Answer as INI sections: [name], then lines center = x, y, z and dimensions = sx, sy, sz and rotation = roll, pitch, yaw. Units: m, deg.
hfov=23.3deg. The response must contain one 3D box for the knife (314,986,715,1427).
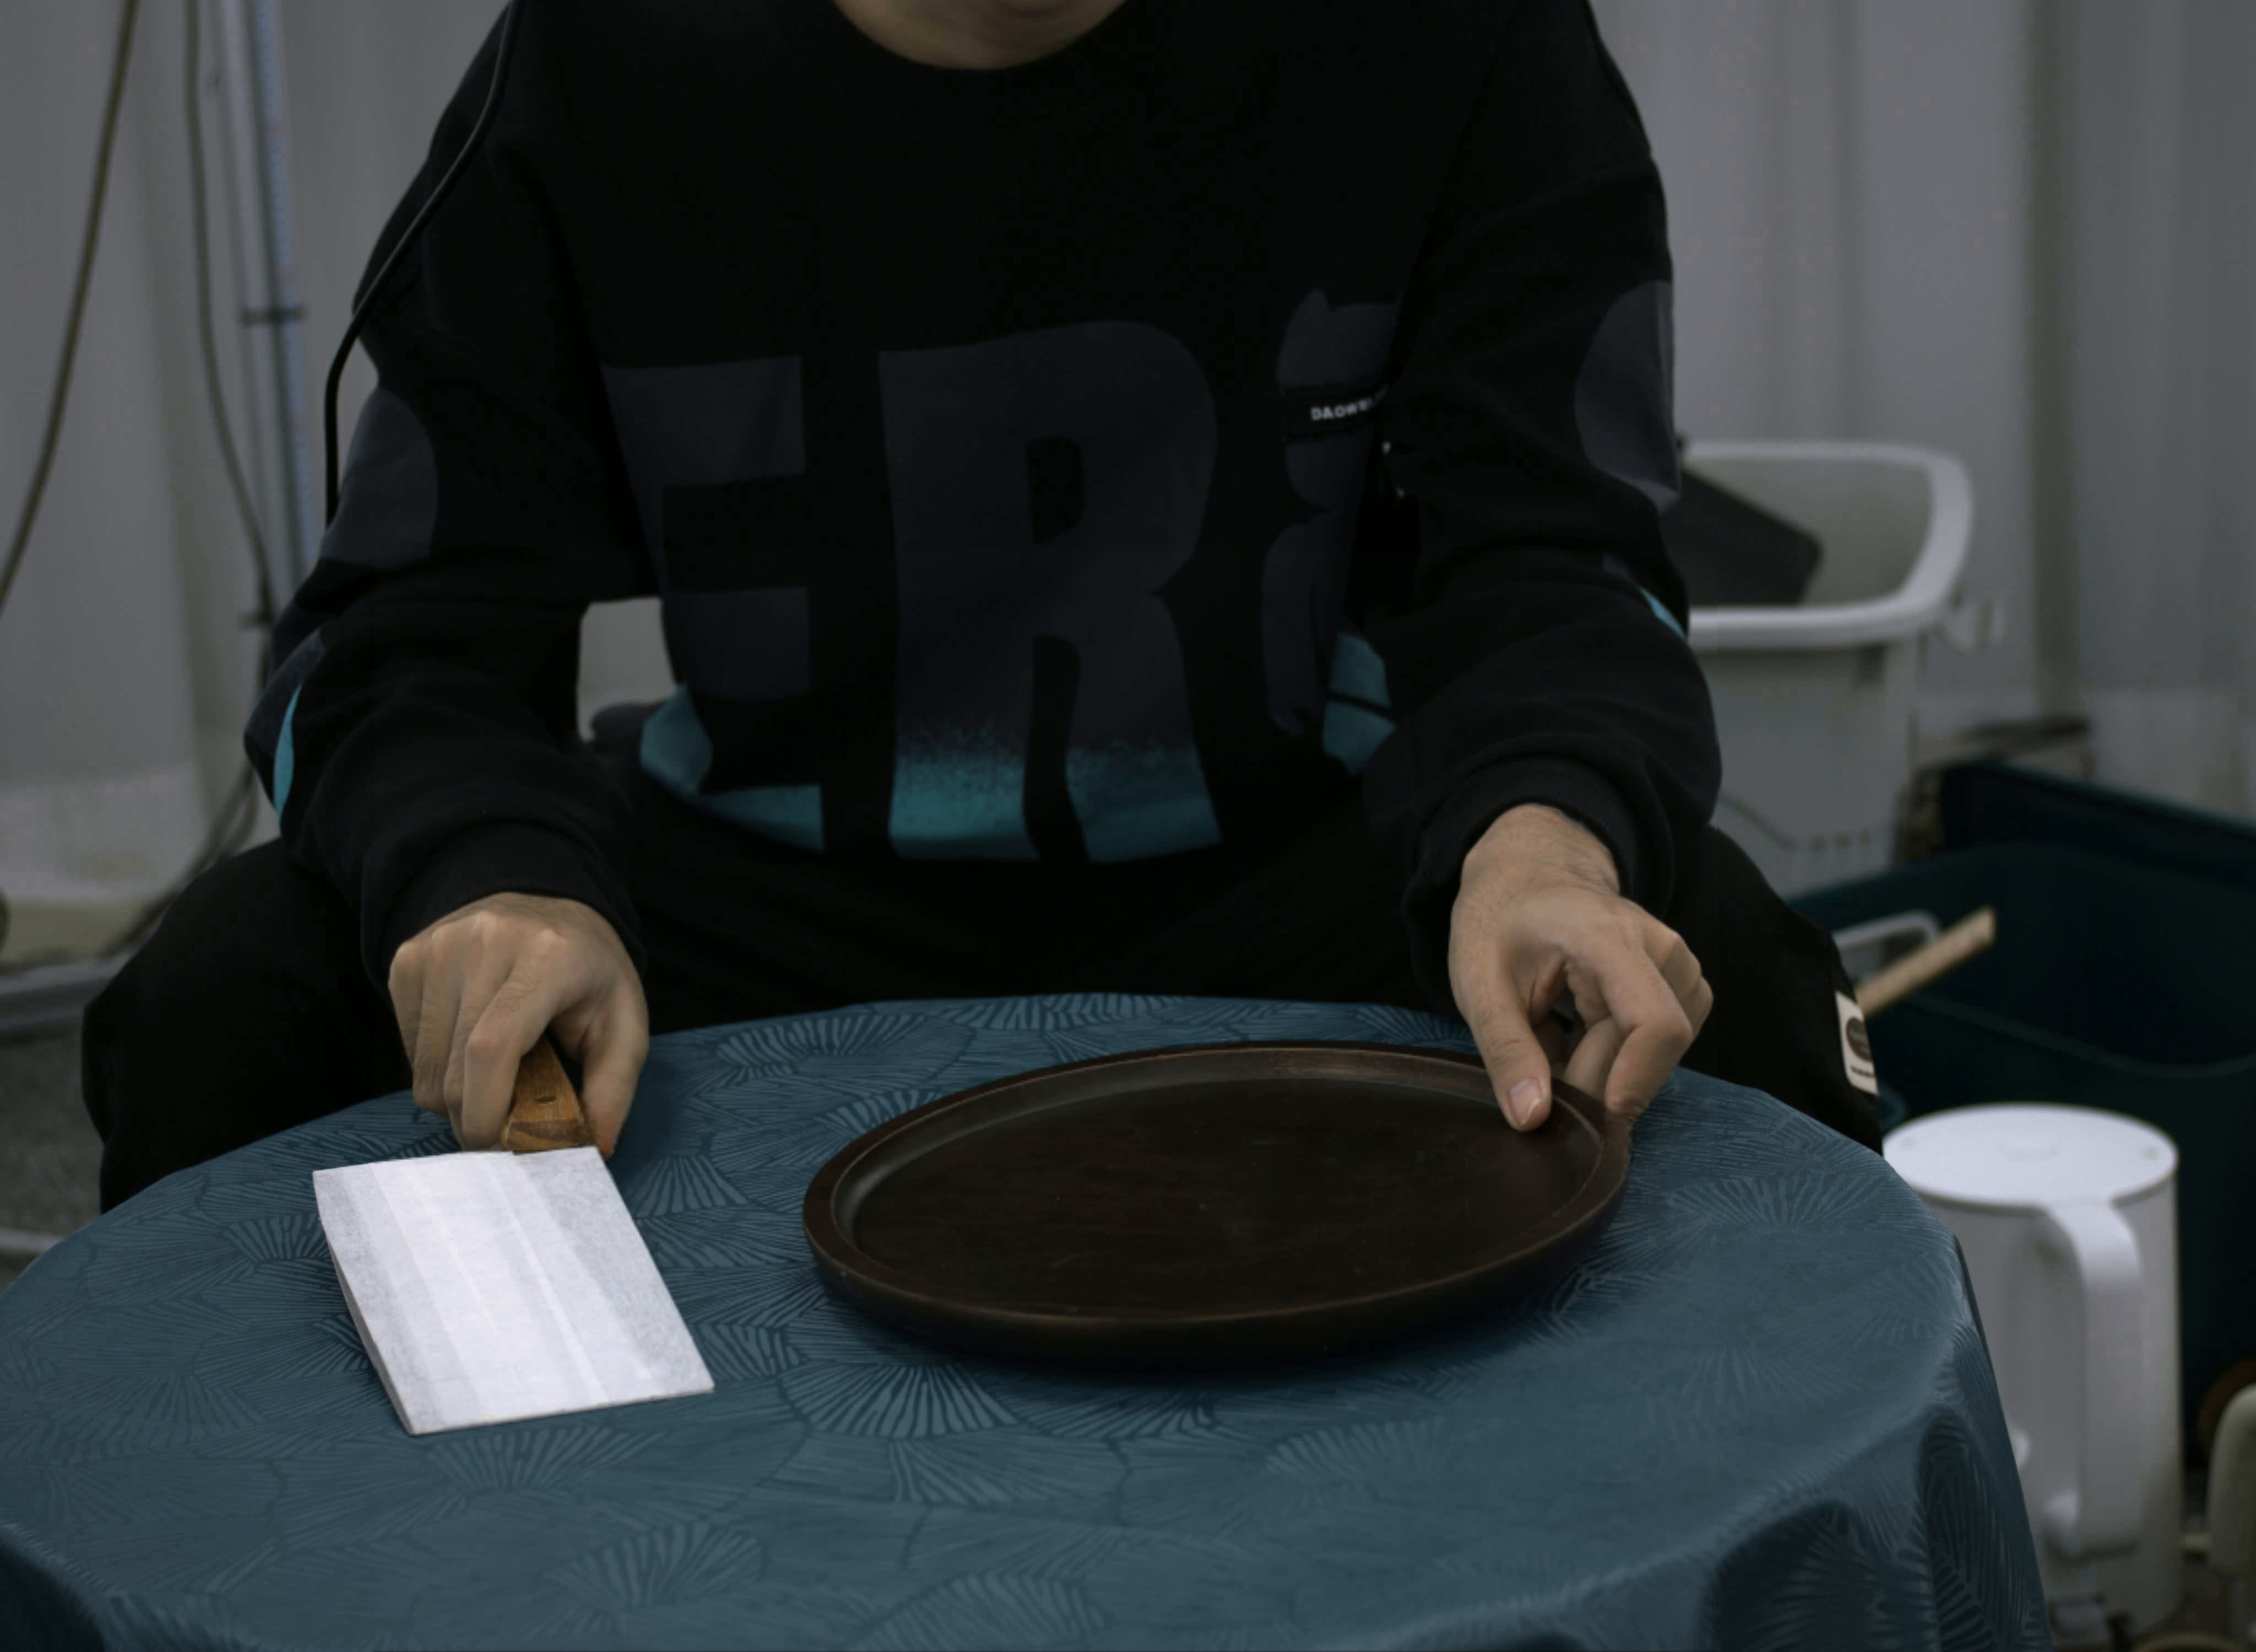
[knife]
center = -0.201, 0.116, 1.689
dimensions = 0.092, 0.021, 0.309
rotation = -7, 21, -14

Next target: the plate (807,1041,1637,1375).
[plate]
center = 0.028, 0.113, 1.657
dimensions = 0.254, 0.029, 0.256
rotation = -3, 16, 1
